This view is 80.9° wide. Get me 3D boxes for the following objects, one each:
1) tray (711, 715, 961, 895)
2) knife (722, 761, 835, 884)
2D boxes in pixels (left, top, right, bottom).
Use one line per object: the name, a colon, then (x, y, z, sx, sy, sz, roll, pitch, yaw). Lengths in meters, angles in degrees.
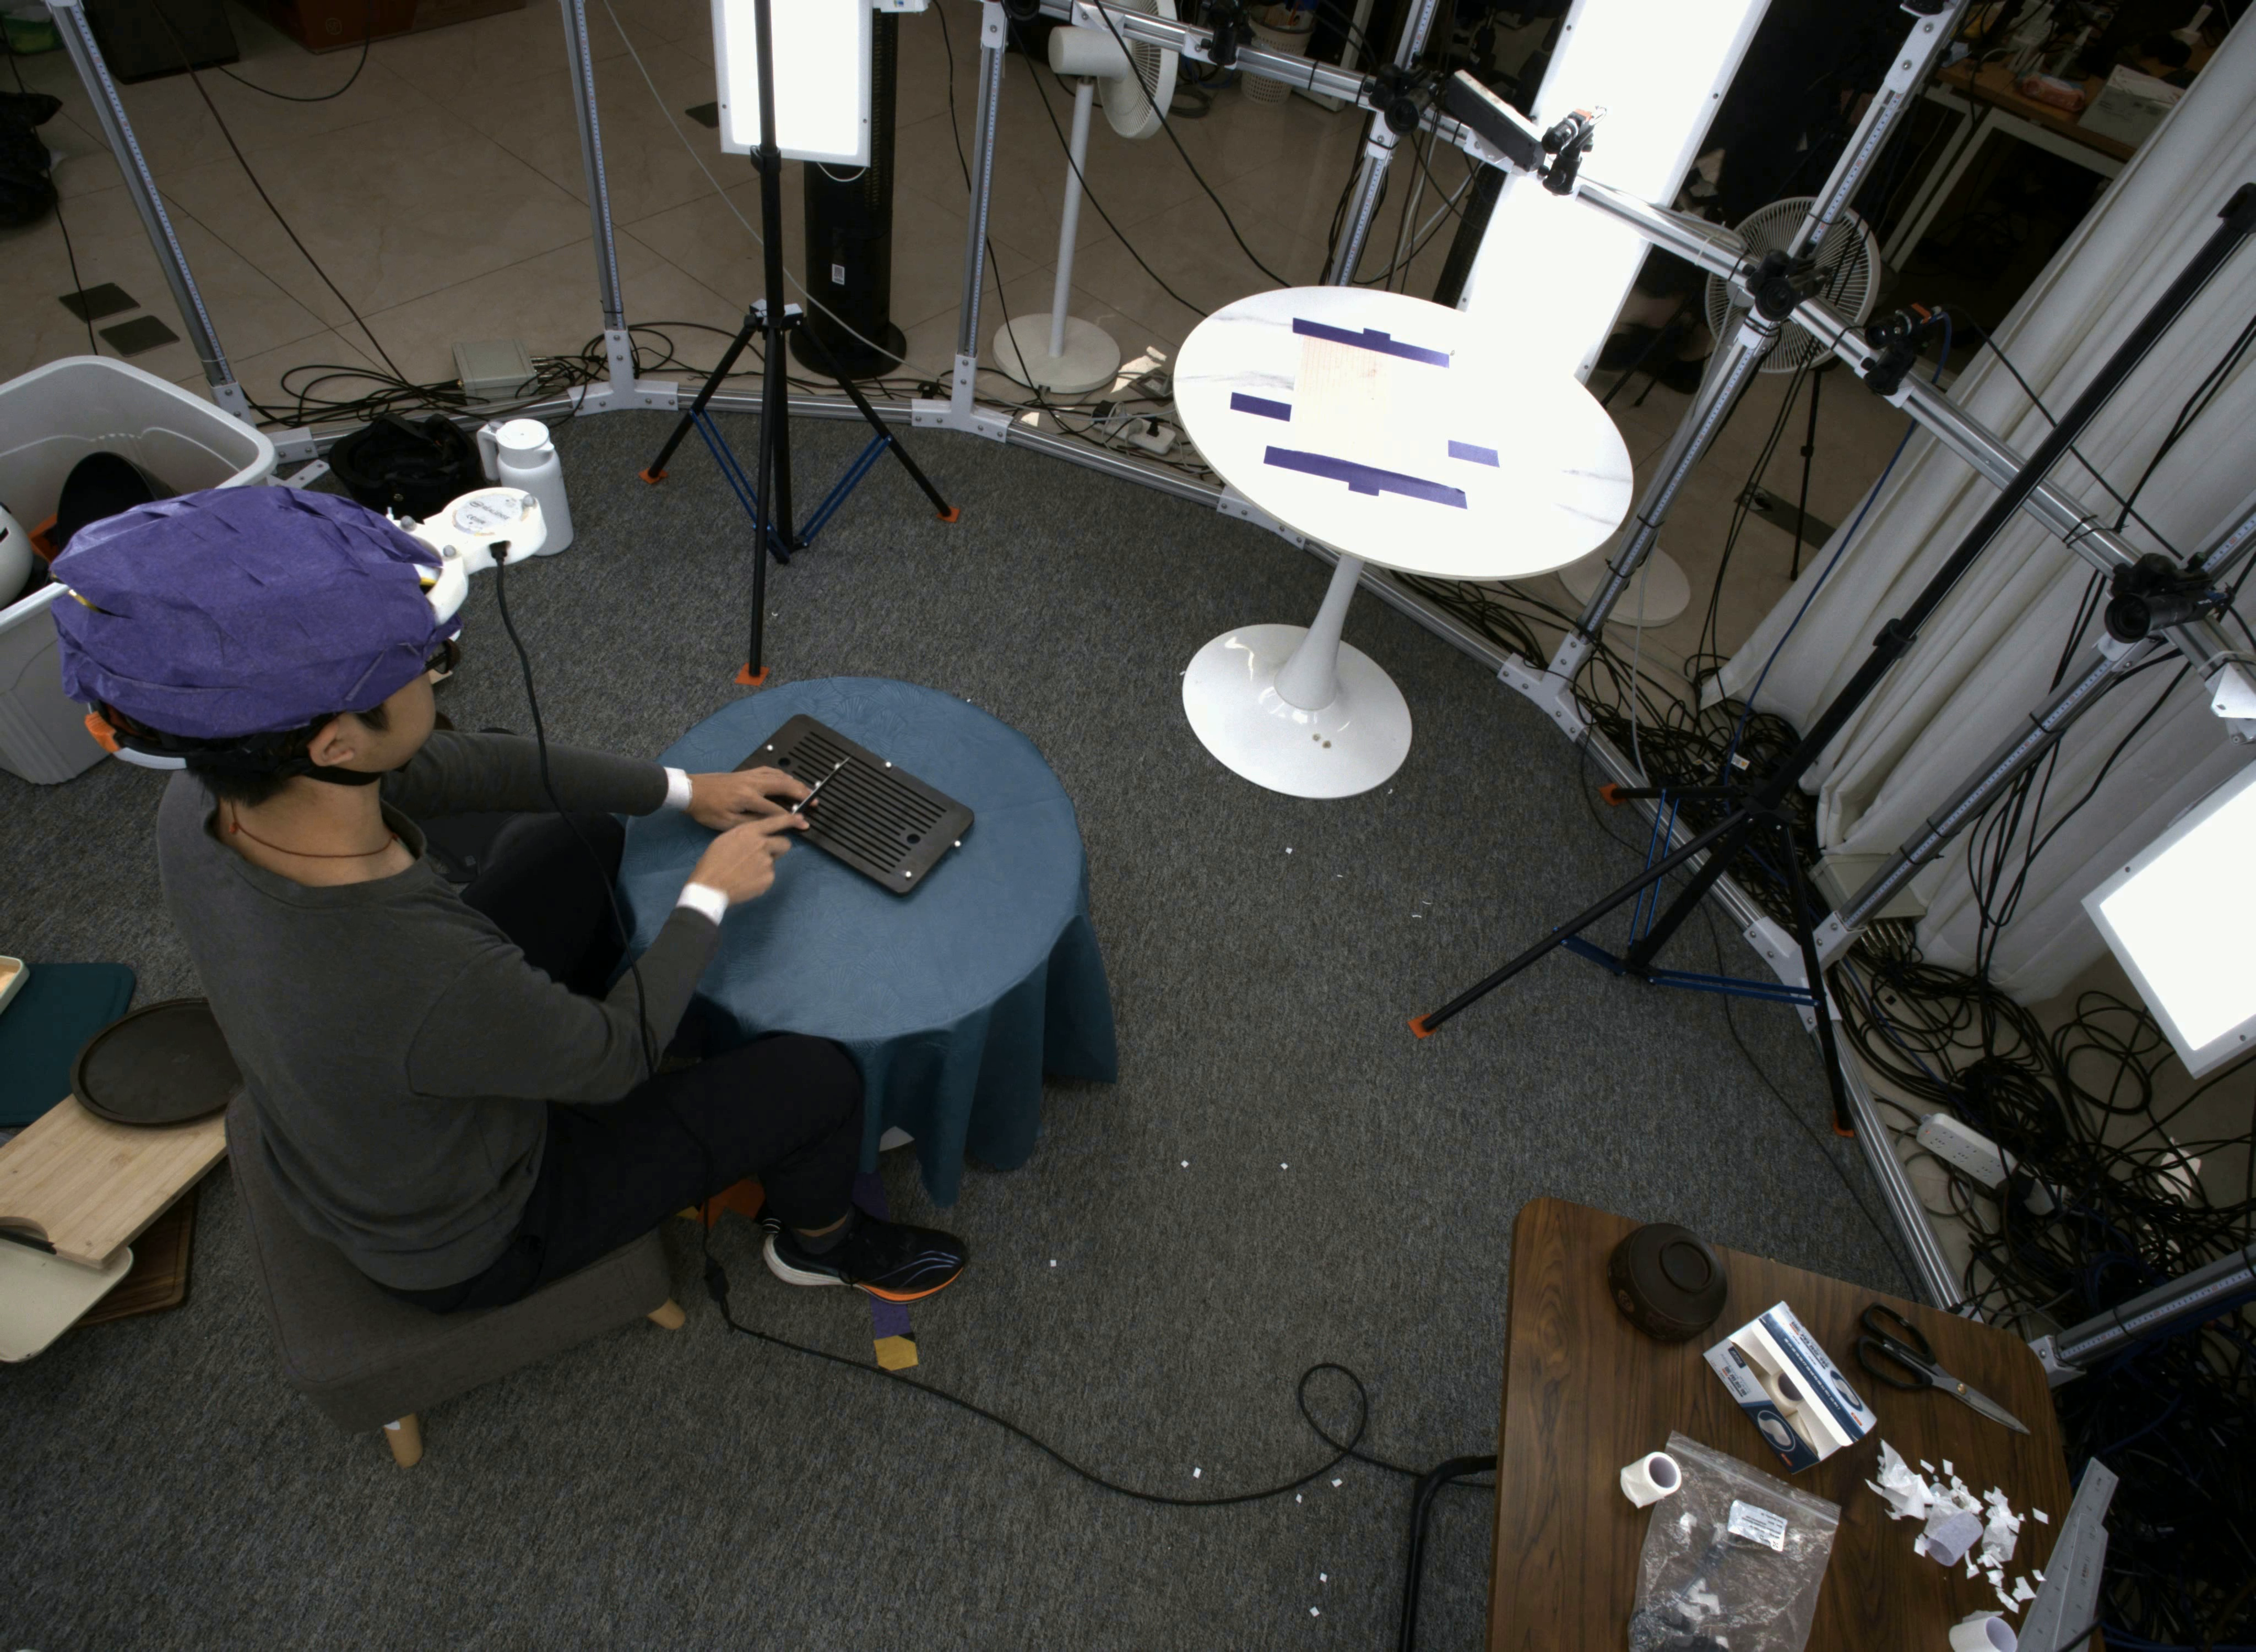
tray: (-0.394, -0.031, 1.755, 0.301, 0.019, 0.169, 29, 53, 8)
knife: (-0.439, -0.013, 1.644, 0.016, 0.025, 0.237, 26, 49, 9)
